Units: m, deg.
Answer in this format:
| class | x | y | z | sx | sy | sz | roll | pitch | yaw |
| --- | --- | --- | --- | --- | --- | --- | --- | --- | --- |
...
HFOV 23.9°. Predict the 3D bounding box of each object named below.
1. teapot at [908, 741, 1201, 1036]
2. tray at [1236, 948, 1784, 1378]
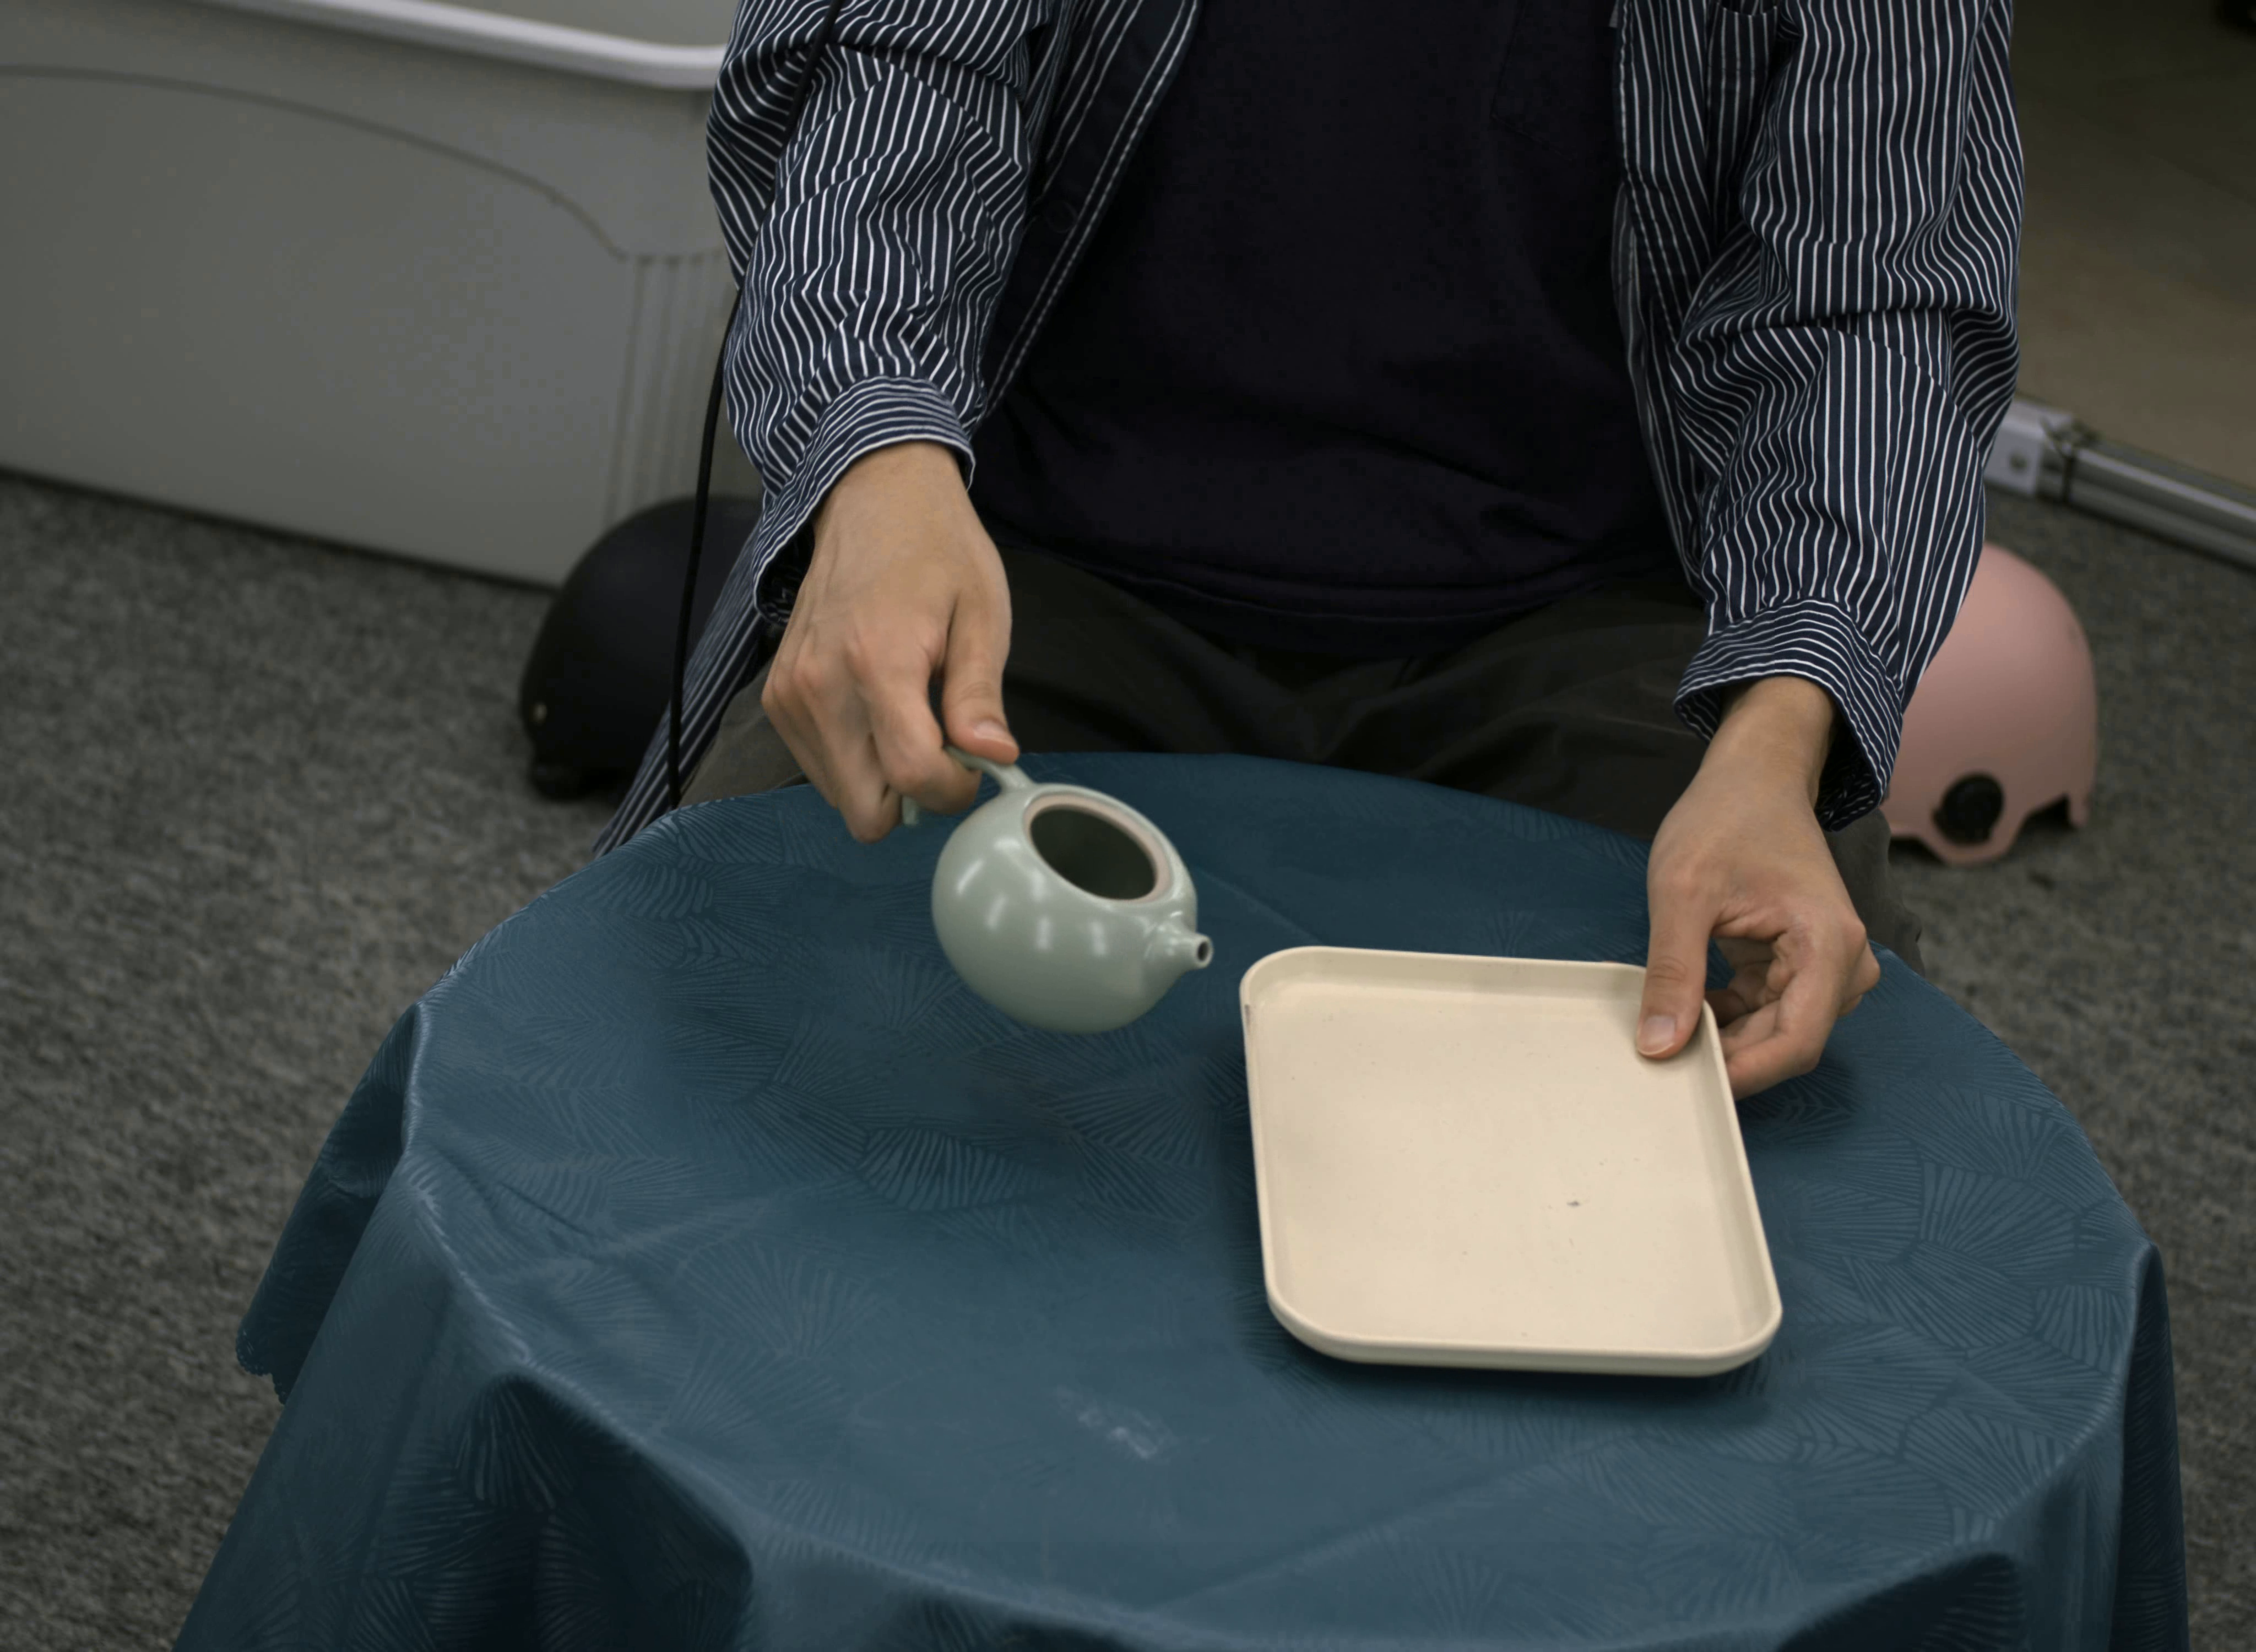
| class | x | y | z | sx | sy | sz | roll | pitch | yaw |
| --- | --- | --- | --- | --- | --- | --- | --- | --- | --- |
| teapot | -0.029 | 0.022 | 1.798 | 0.091 | 0.061 | 0.129 | -19 | 56 | -45 |
| tray | 0.125 | 0.113 | 1.804 | 0.170 | 0.017 | 0.241 | 3 | 30 | -4 |
